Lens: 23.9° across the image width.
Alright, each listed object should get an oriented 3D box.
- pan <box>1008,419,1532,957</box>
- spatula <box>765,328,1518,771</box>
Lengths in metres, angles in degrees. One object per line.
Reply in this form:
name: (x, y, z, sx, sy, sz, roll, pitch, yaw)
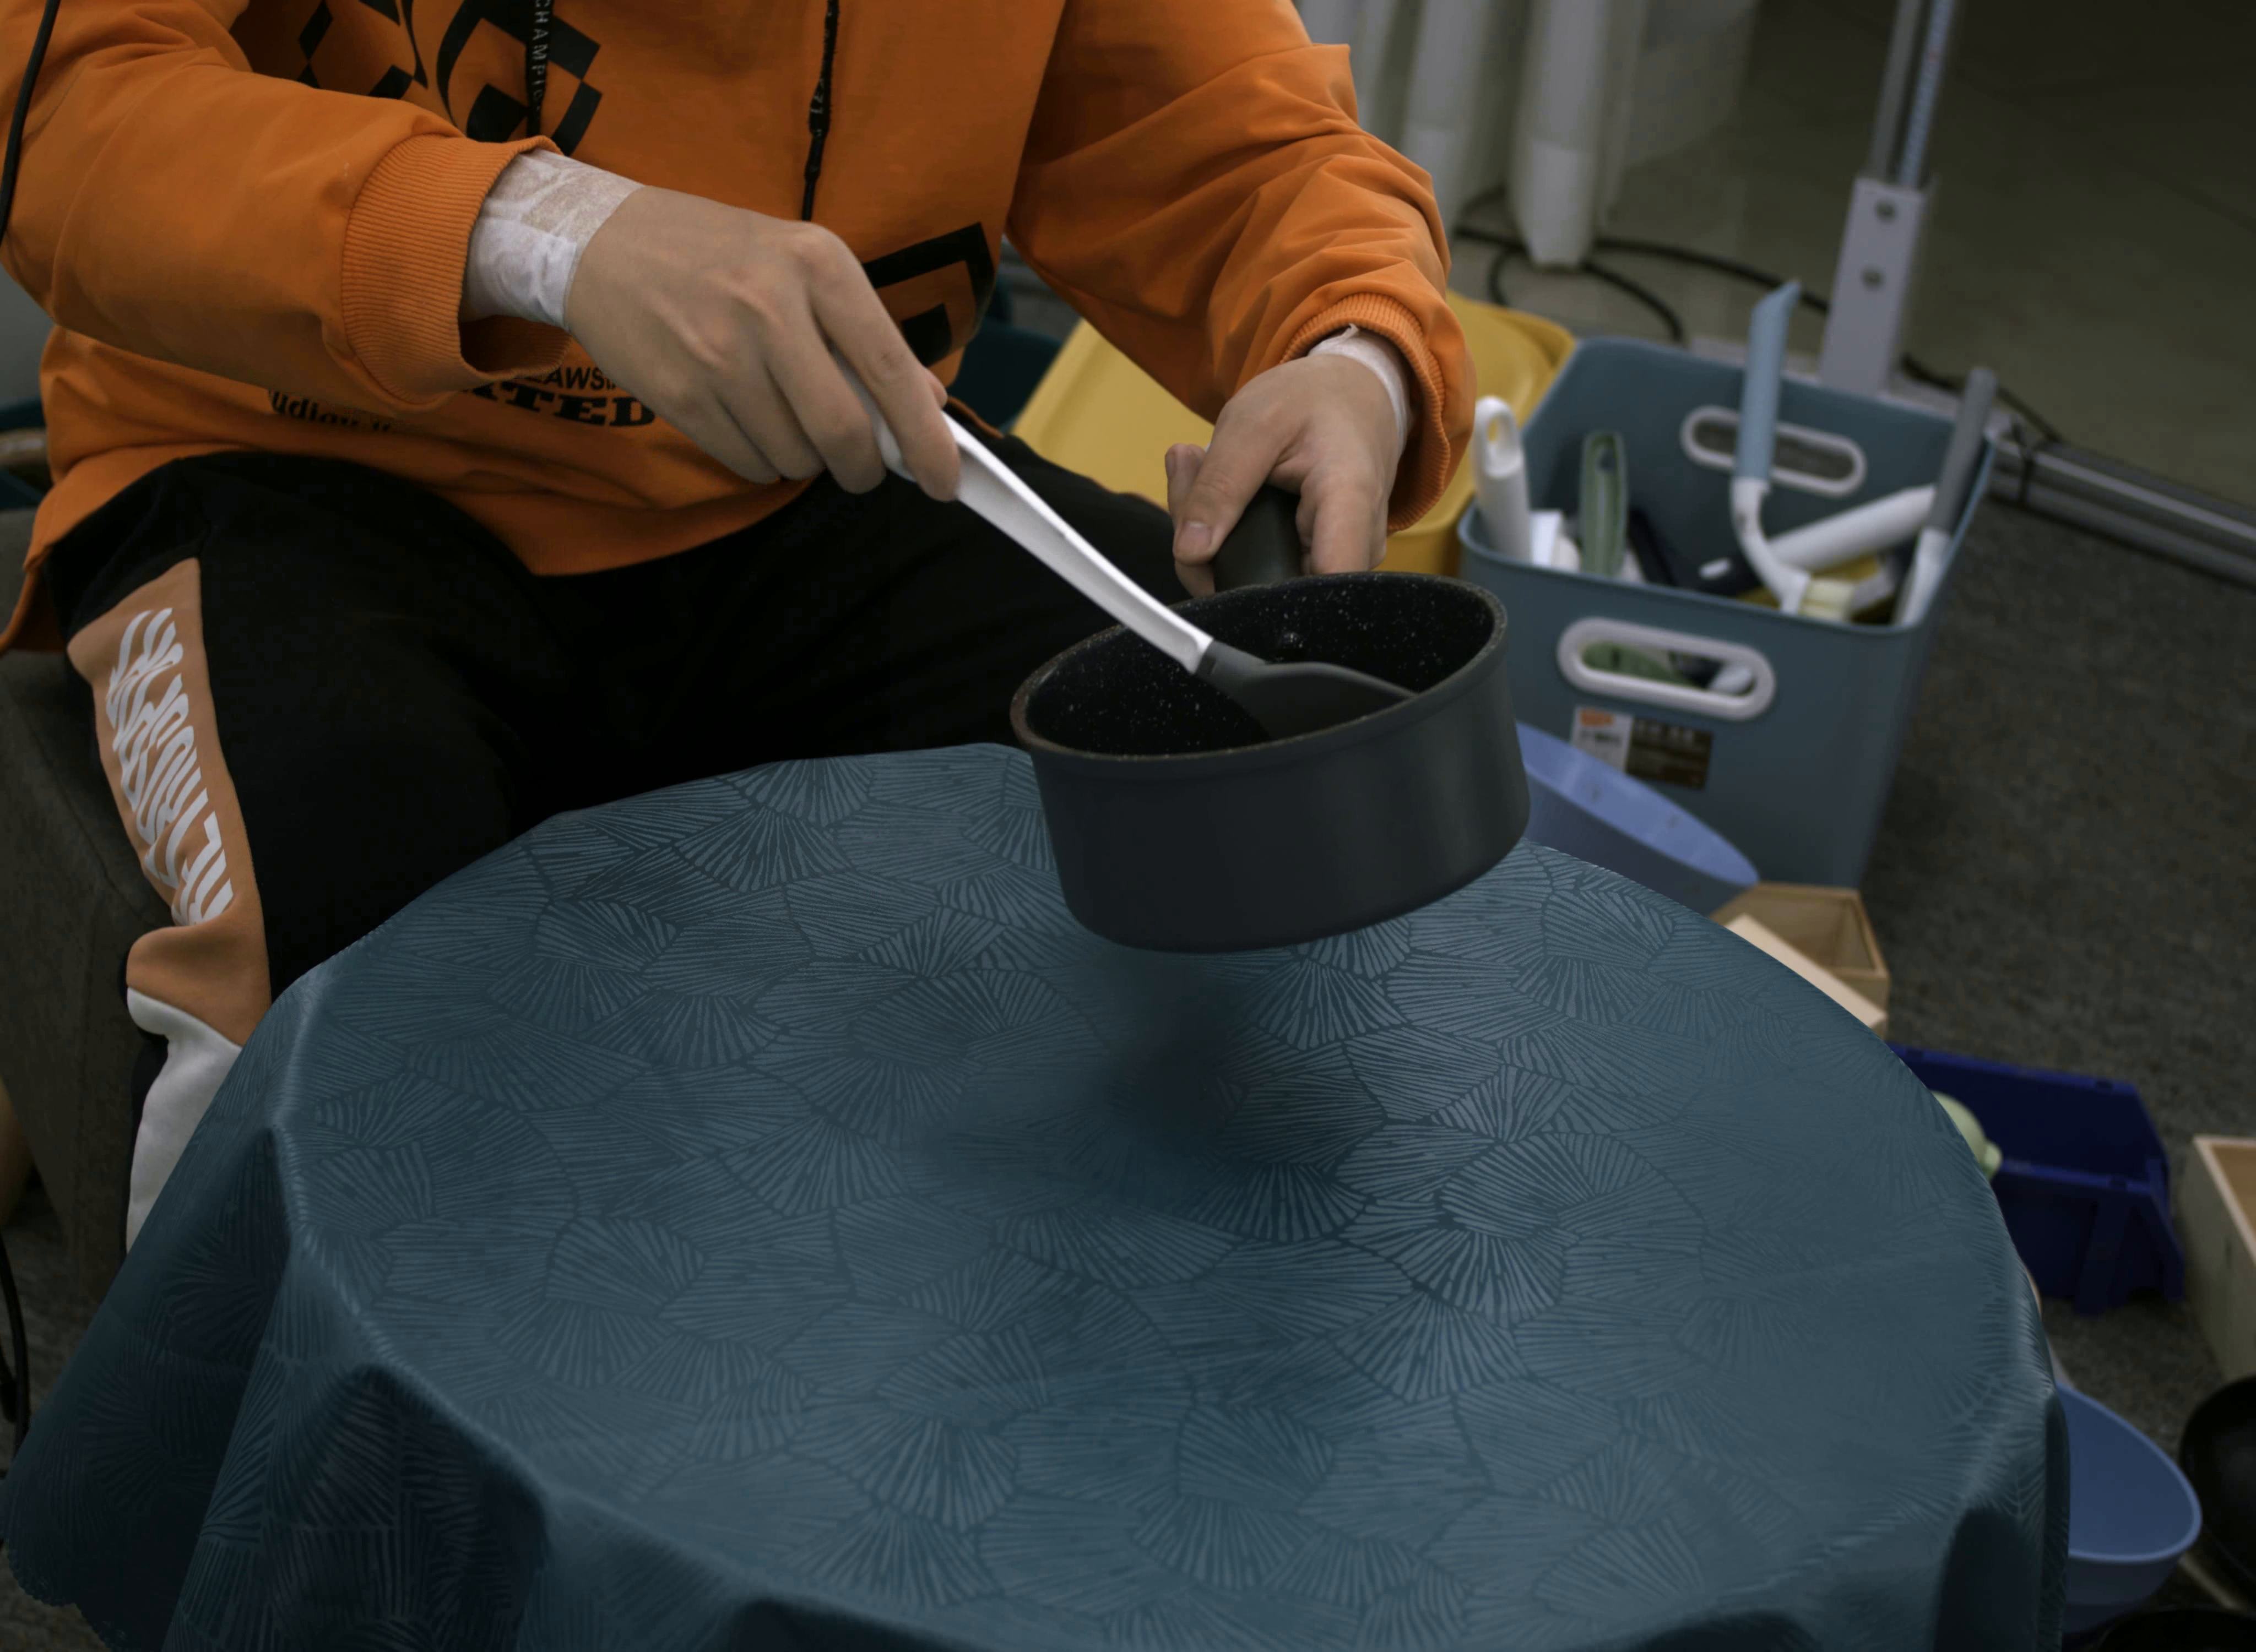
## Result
pan: (0.053, -0.053, 1.880, 0.172, 0.086, 0.330, -9, 21, 7)
spatula: (0.003, -0.083, 1.814, 0.288, 0.058, 0.032, 32, 54, 10)
